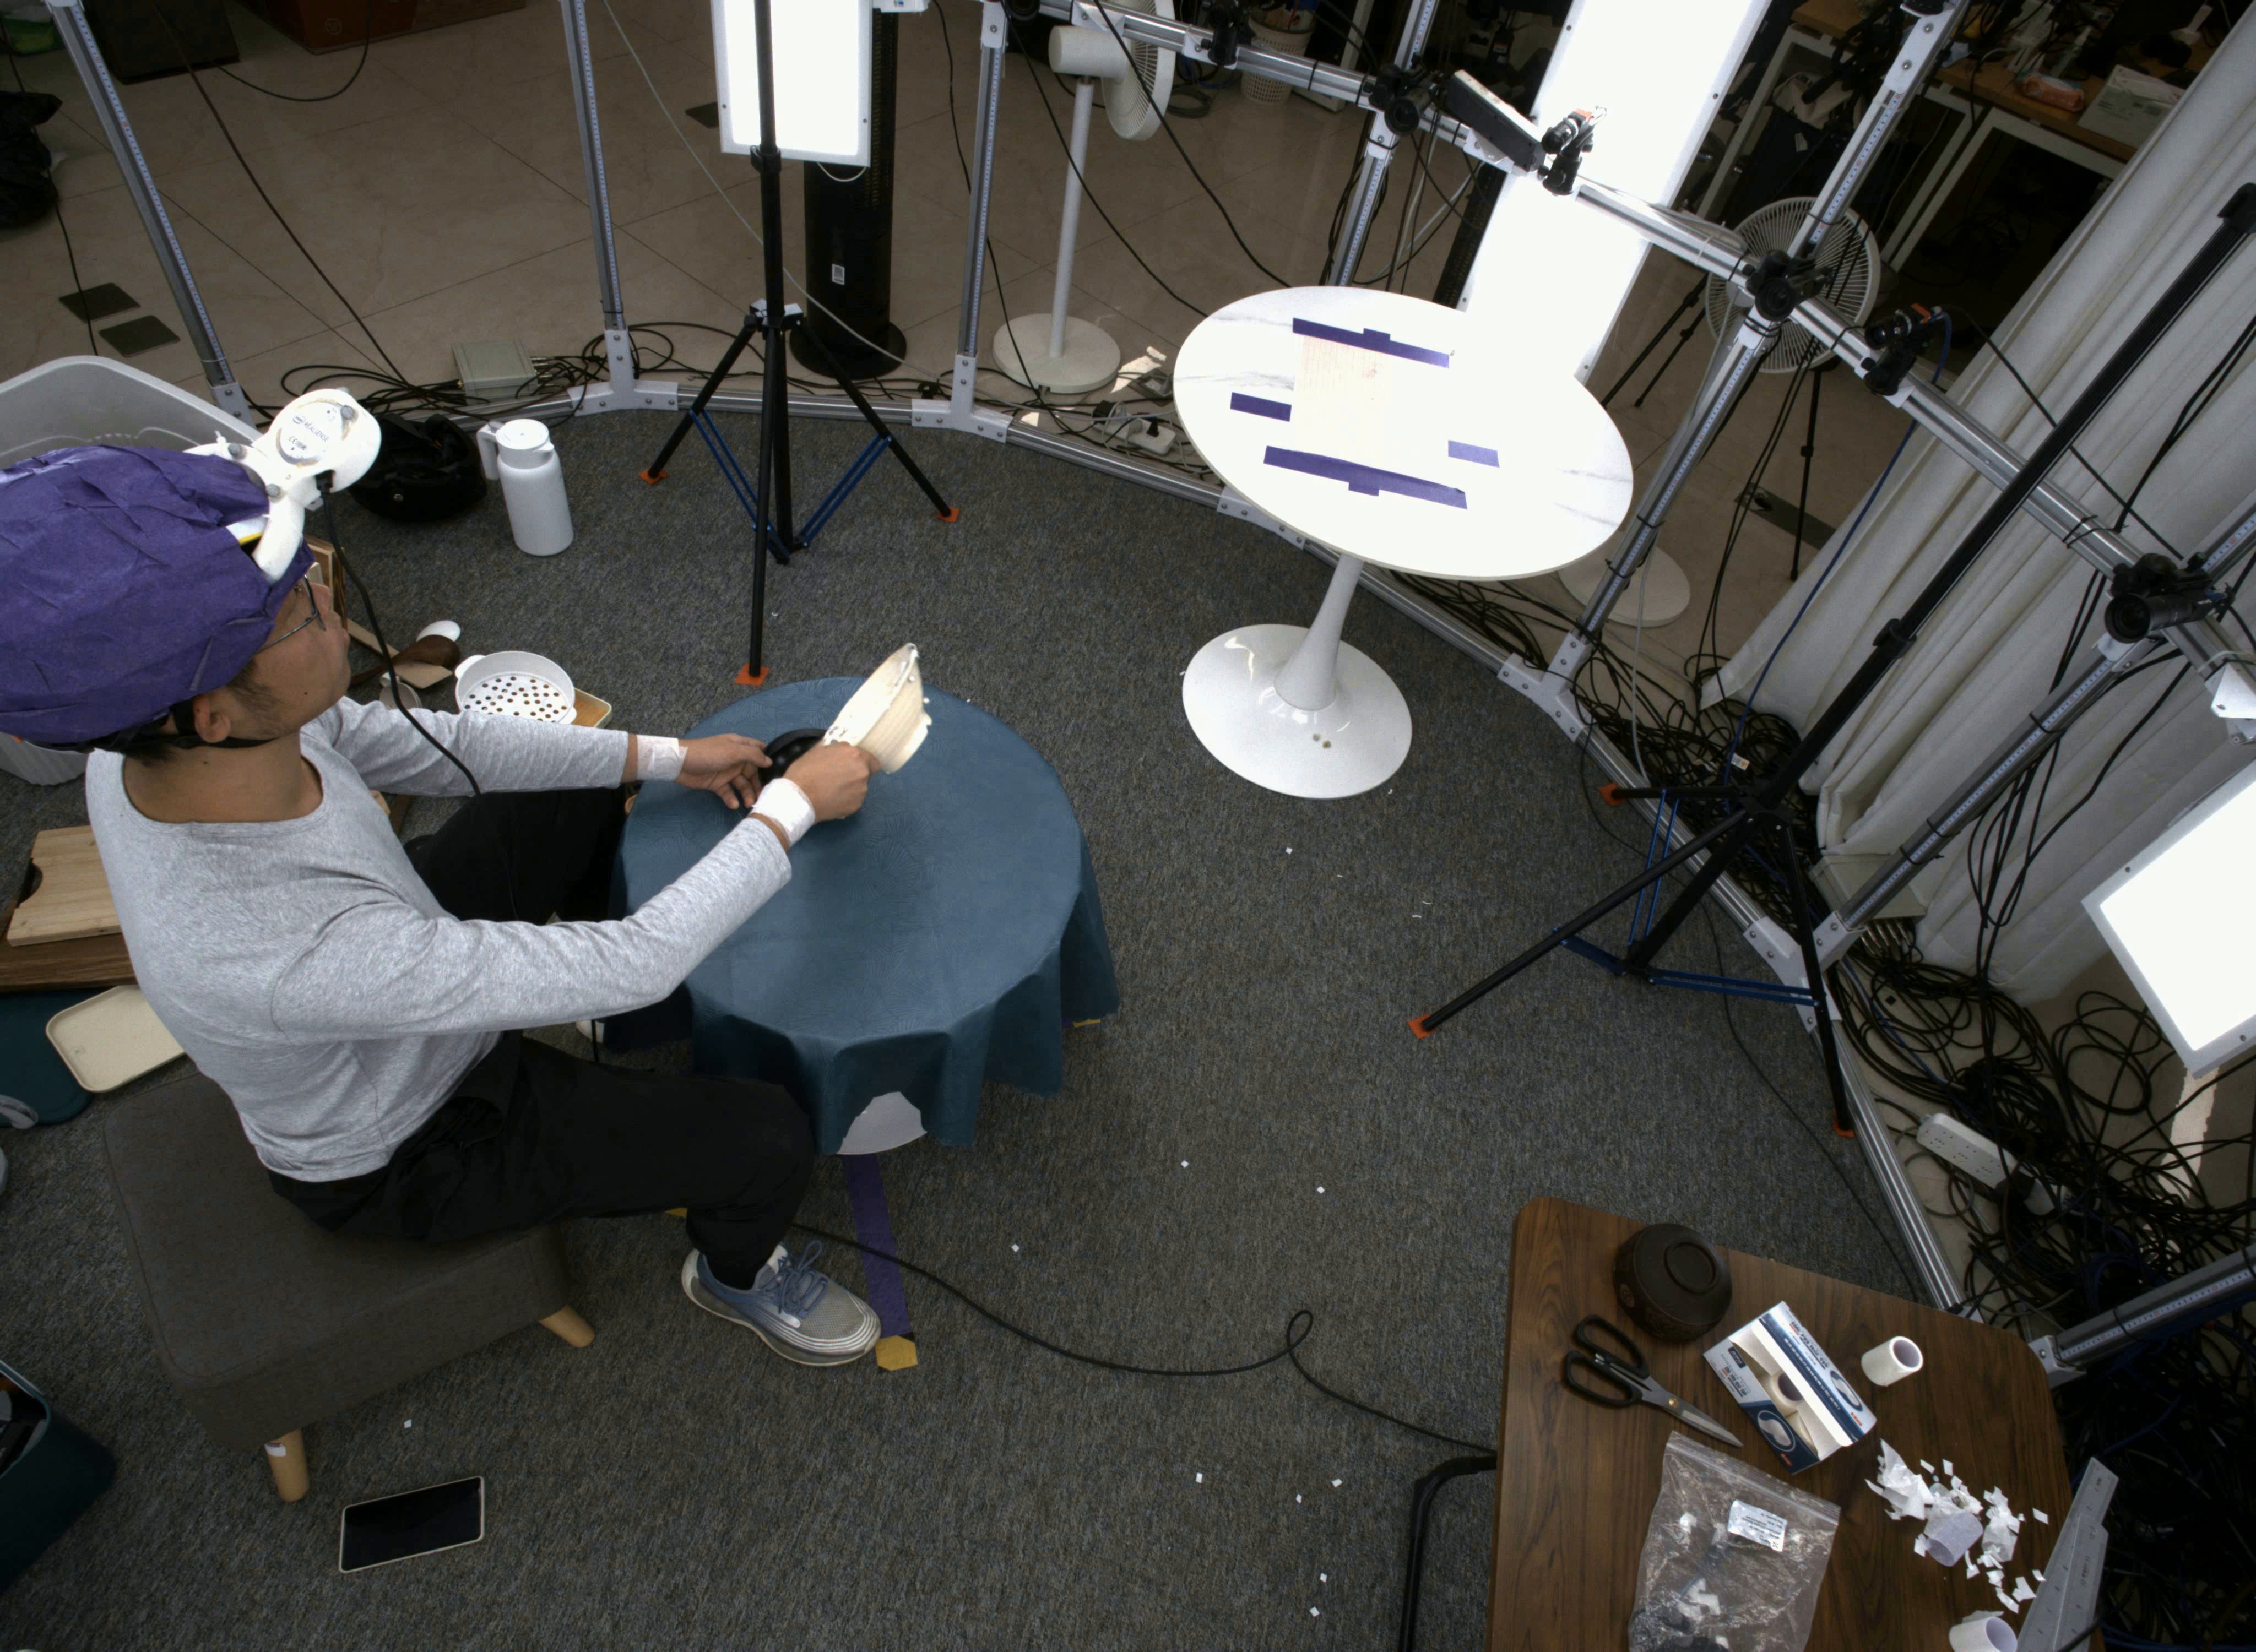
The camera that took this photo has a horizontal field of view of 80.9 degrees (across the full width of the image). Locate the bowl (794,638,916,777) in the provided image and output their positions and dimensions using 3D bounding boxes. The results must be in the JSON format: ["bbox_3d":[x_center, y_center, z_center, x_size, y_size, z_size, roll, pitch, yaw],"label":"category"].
[{"bbox_3d":[-0.318,-0.124,1.590,0.080,0.201,0.201,37,47,-23],"label":"bowl"}]

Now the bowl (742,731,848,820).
[{"bbox_3d":[-0.447,-0.060,1.746,0.139,0.051,0.137,5,55,-5],"label":"bowl"}]
